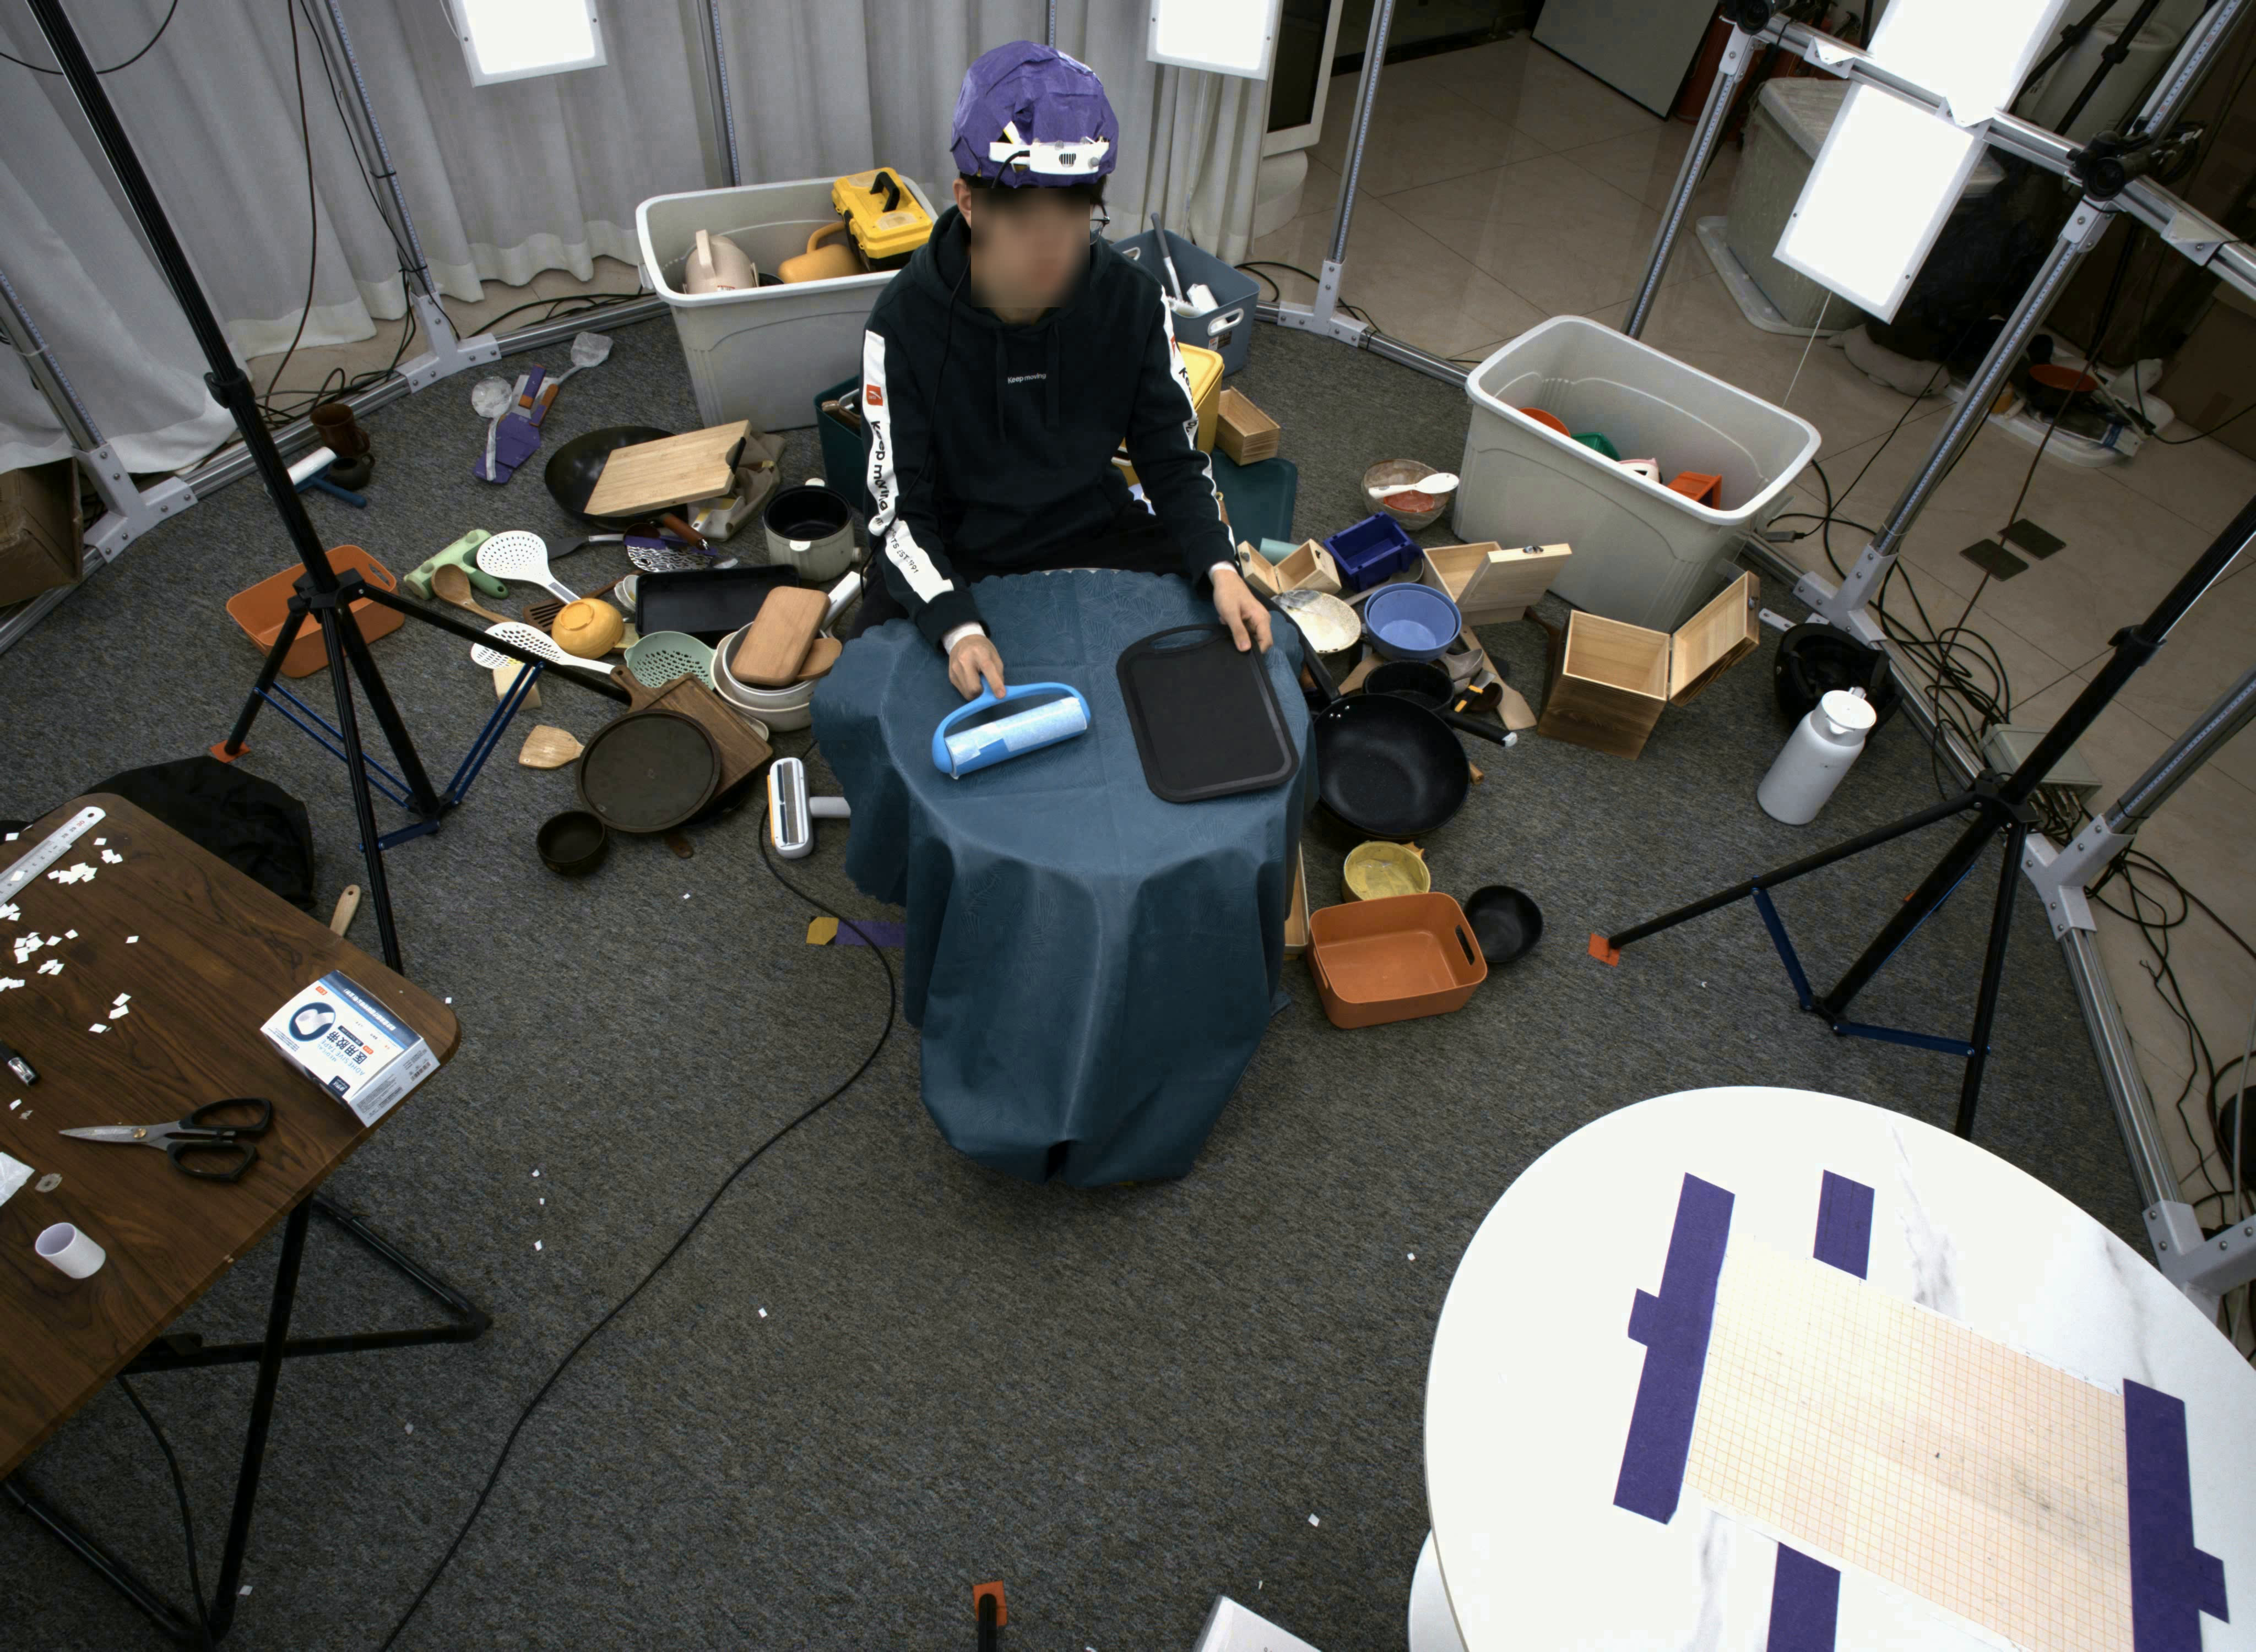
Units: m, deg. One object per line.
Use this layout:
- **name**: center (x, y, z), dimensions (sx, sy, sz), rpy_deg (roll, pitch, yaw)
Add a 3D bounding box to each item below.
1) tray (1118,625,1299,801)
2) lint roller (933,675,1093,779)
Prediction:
- **tray**: center (0.105, -0.170, 1.801), dimensions (0.211, 0.009, 0.333), rpy_deg (-10, 51, -4)
- **lint roller**: center (-0.182, -0.162, 1.760), dimensions (0.229, 0.066, 0.184), rpy_deg (-23, 55, -20)
